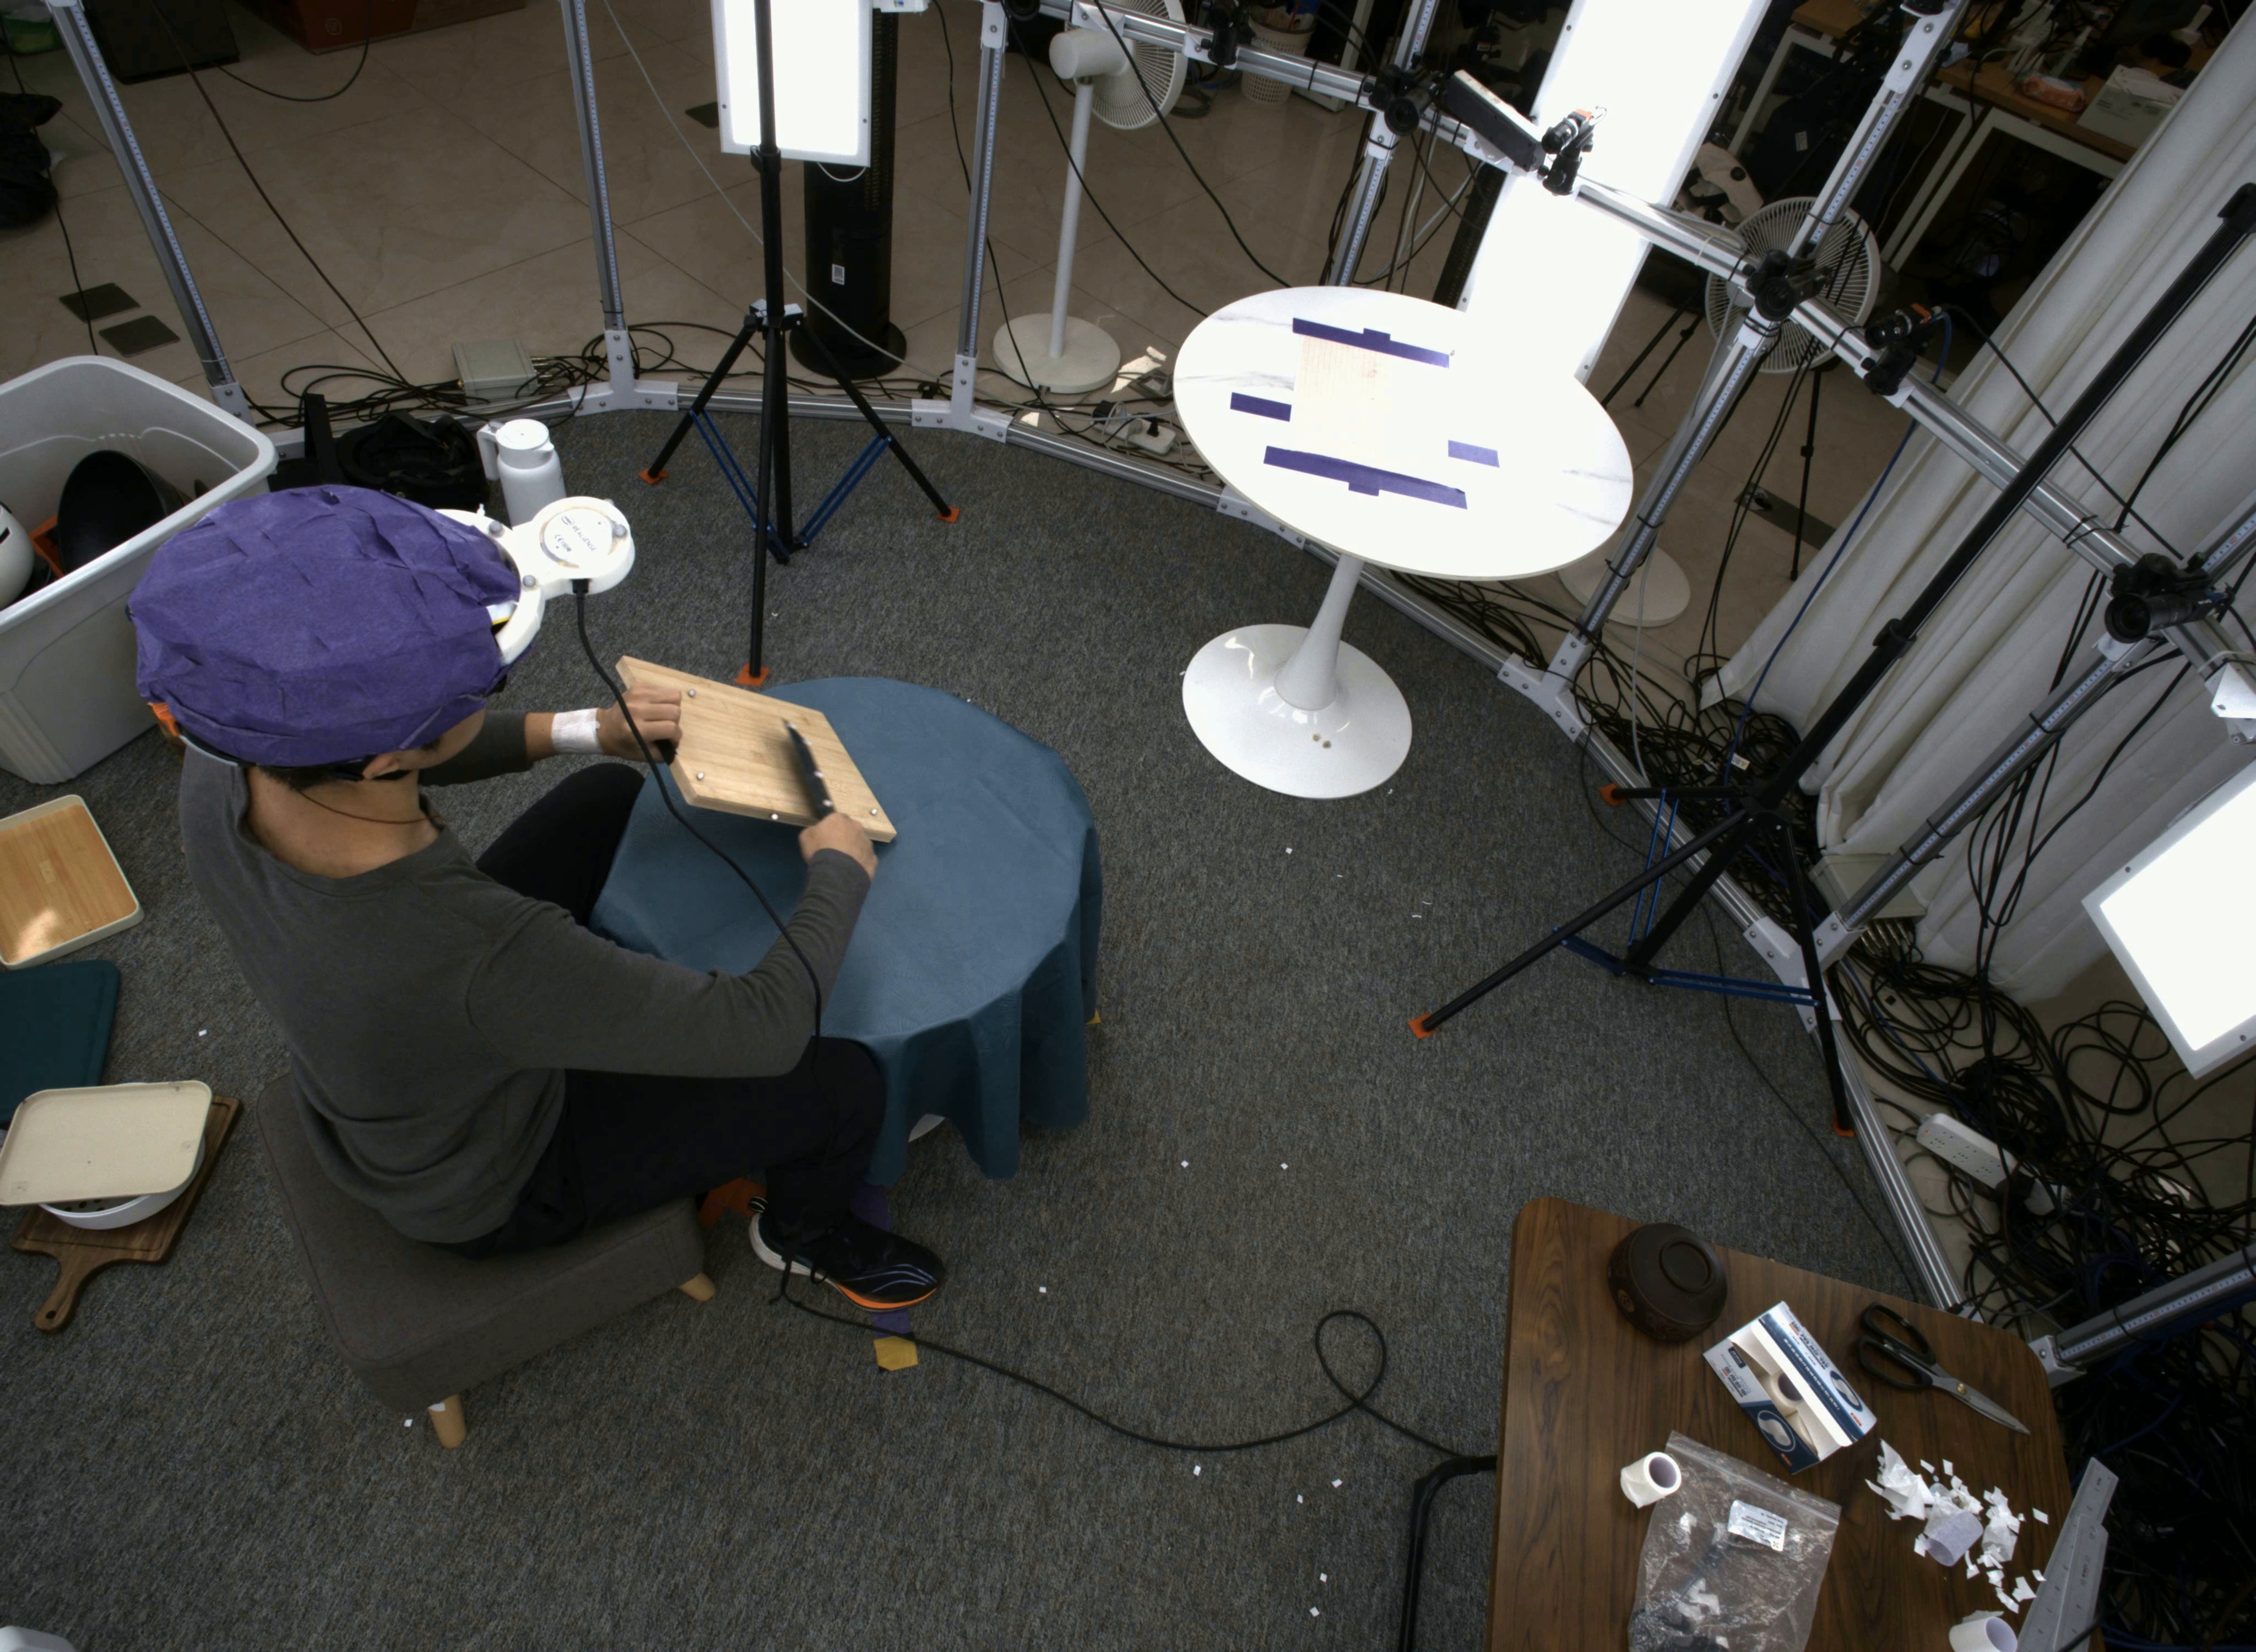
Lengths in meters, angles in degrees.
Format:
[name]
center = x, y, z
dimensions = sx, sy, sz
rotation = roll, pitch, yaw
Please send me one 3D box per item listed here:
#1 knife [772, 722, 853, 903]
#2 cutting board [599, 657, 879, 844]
[knife]
center = -0.390, -0.019, 1.610
dimensions = 0.021, 0.084, 0.293
rotation = -32, 51, 2
[cutting board]
center = -0.488, -0.091, 1.633
dimensions = 0.244, 0.023, 0.357
rotation = 53, 19, 25
